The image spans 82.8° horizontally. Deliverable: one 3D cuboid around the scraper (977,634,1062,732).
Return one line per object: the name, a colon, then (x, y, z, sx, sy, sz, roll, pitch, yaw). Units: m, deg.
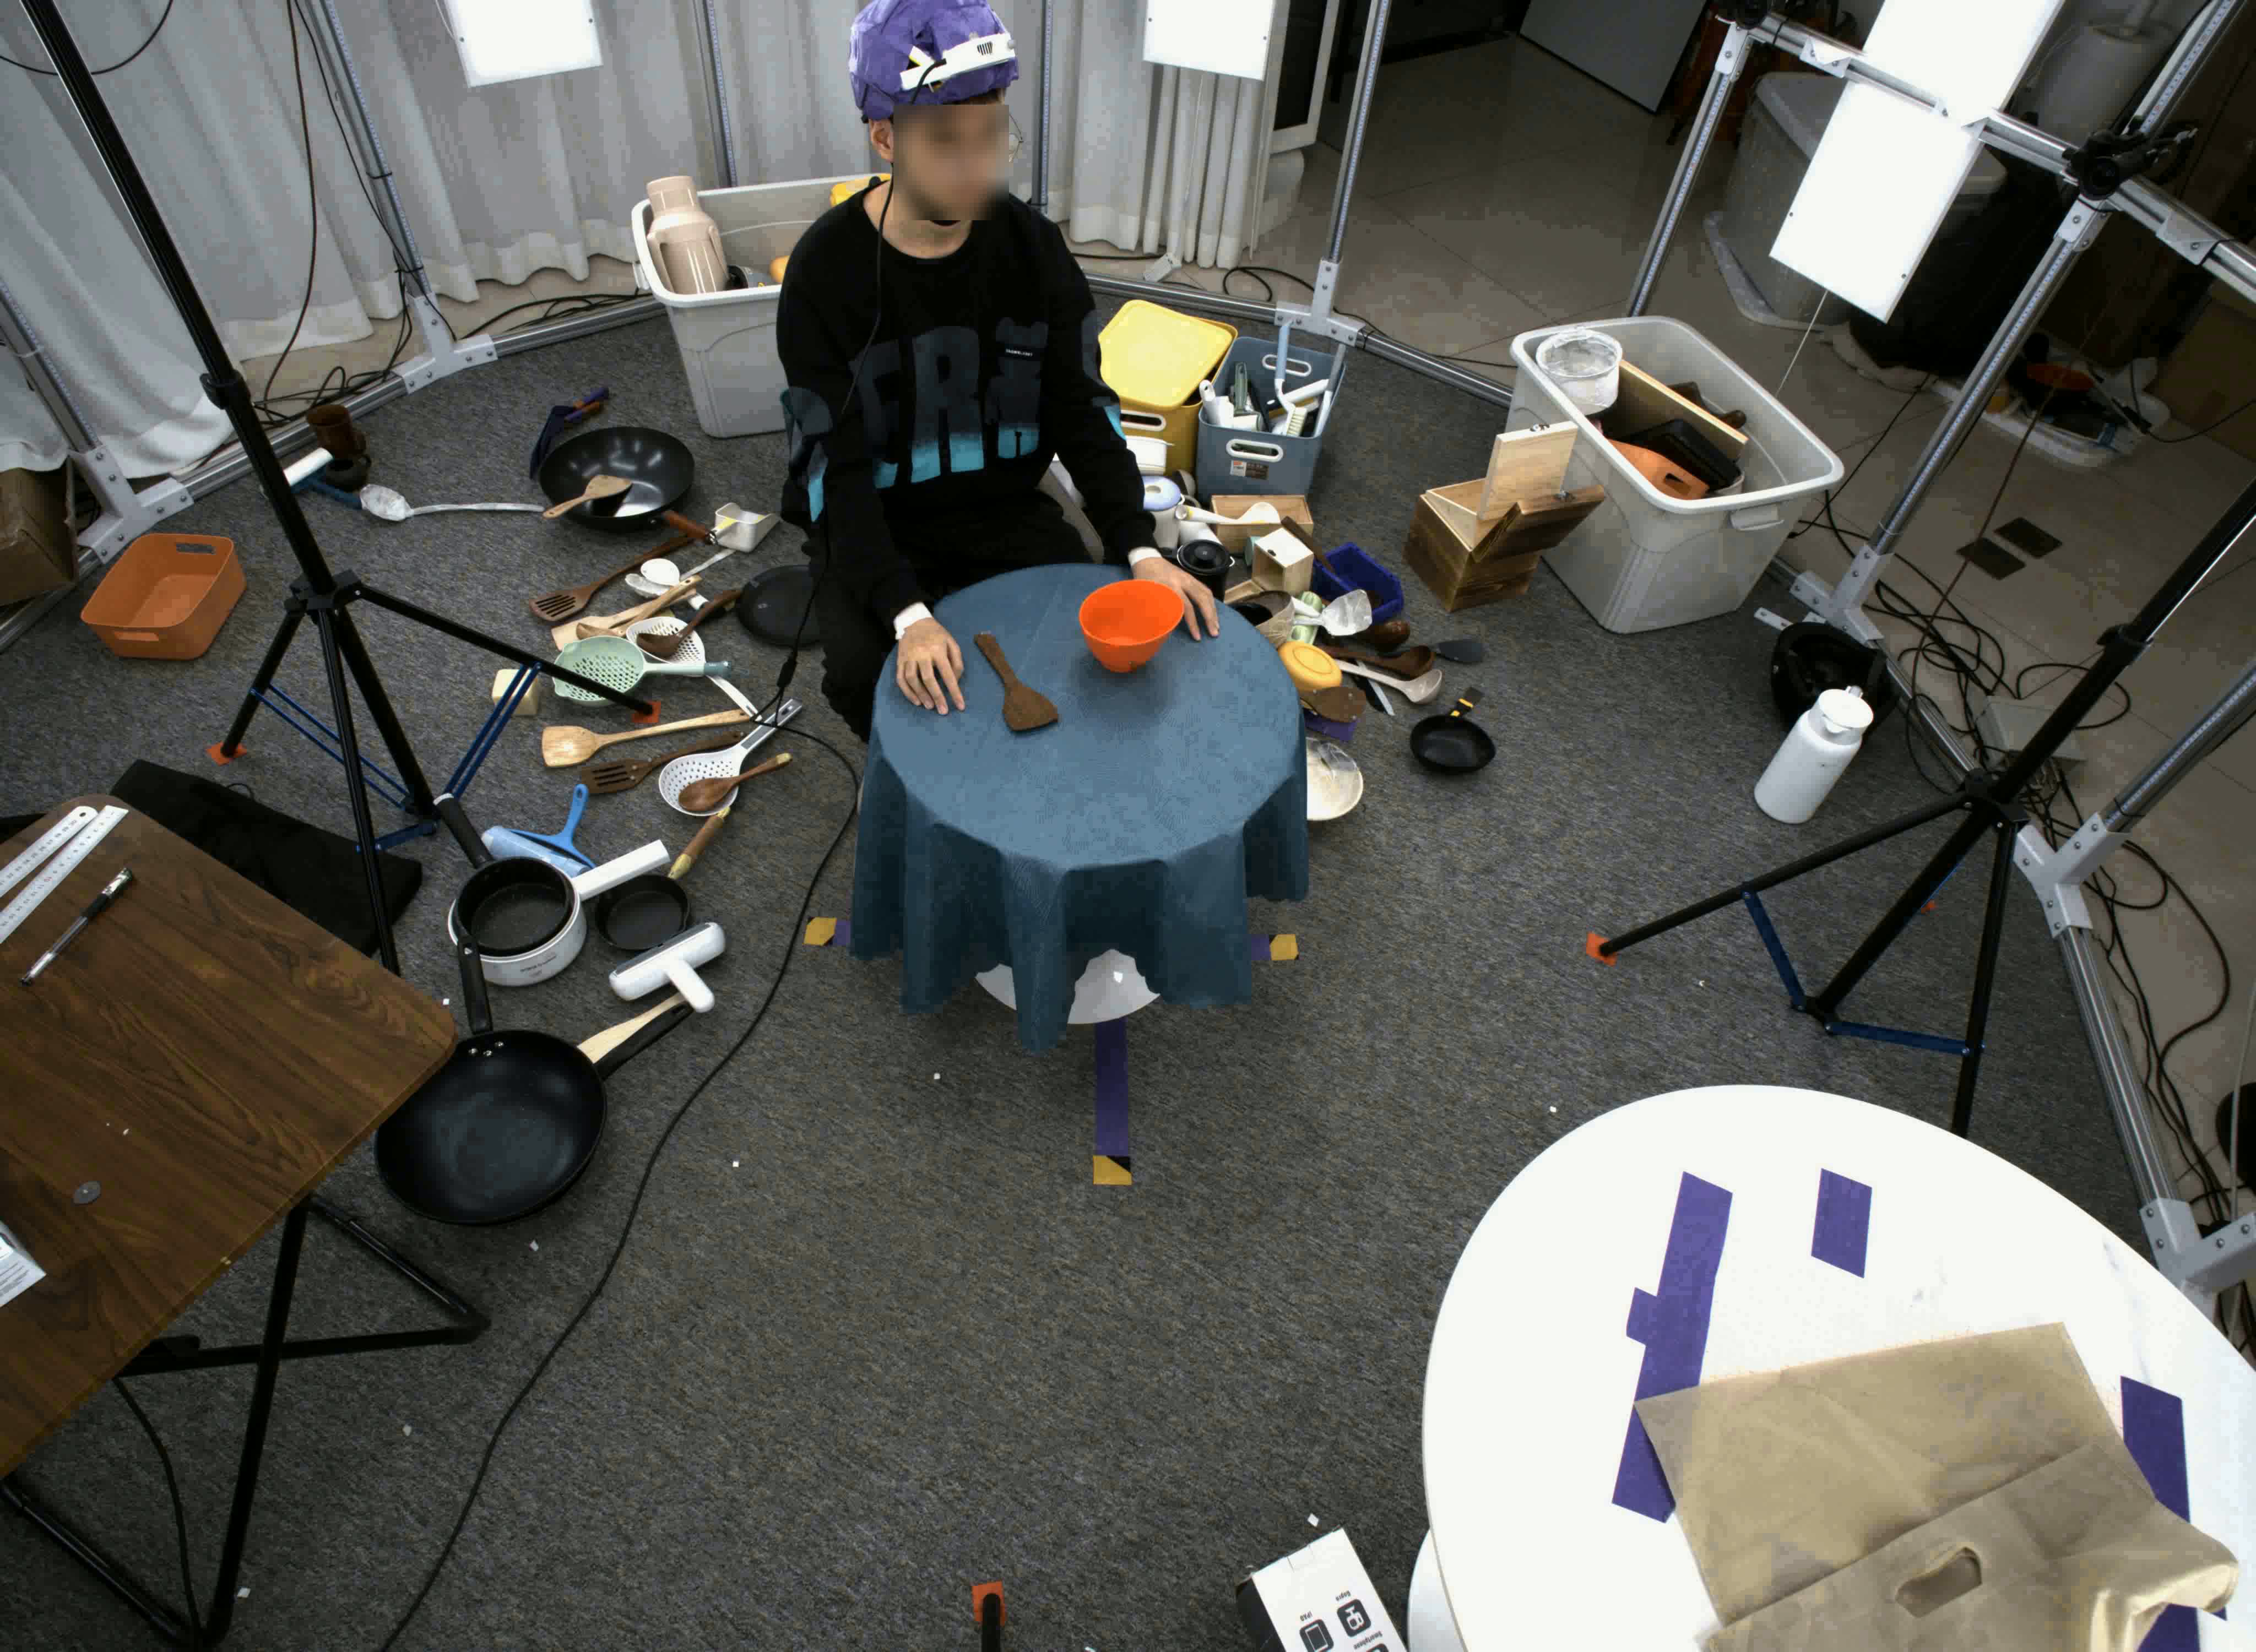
scraper: (-0.167, -0.209, 1.851, 0.076, 0.010, 0.216, -17, 51, -19)

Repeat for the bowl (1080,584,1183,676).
bowl: (0.003, -0.274, 1.860, 0.148, 0.102, 0.152, 1, 48, -1)
